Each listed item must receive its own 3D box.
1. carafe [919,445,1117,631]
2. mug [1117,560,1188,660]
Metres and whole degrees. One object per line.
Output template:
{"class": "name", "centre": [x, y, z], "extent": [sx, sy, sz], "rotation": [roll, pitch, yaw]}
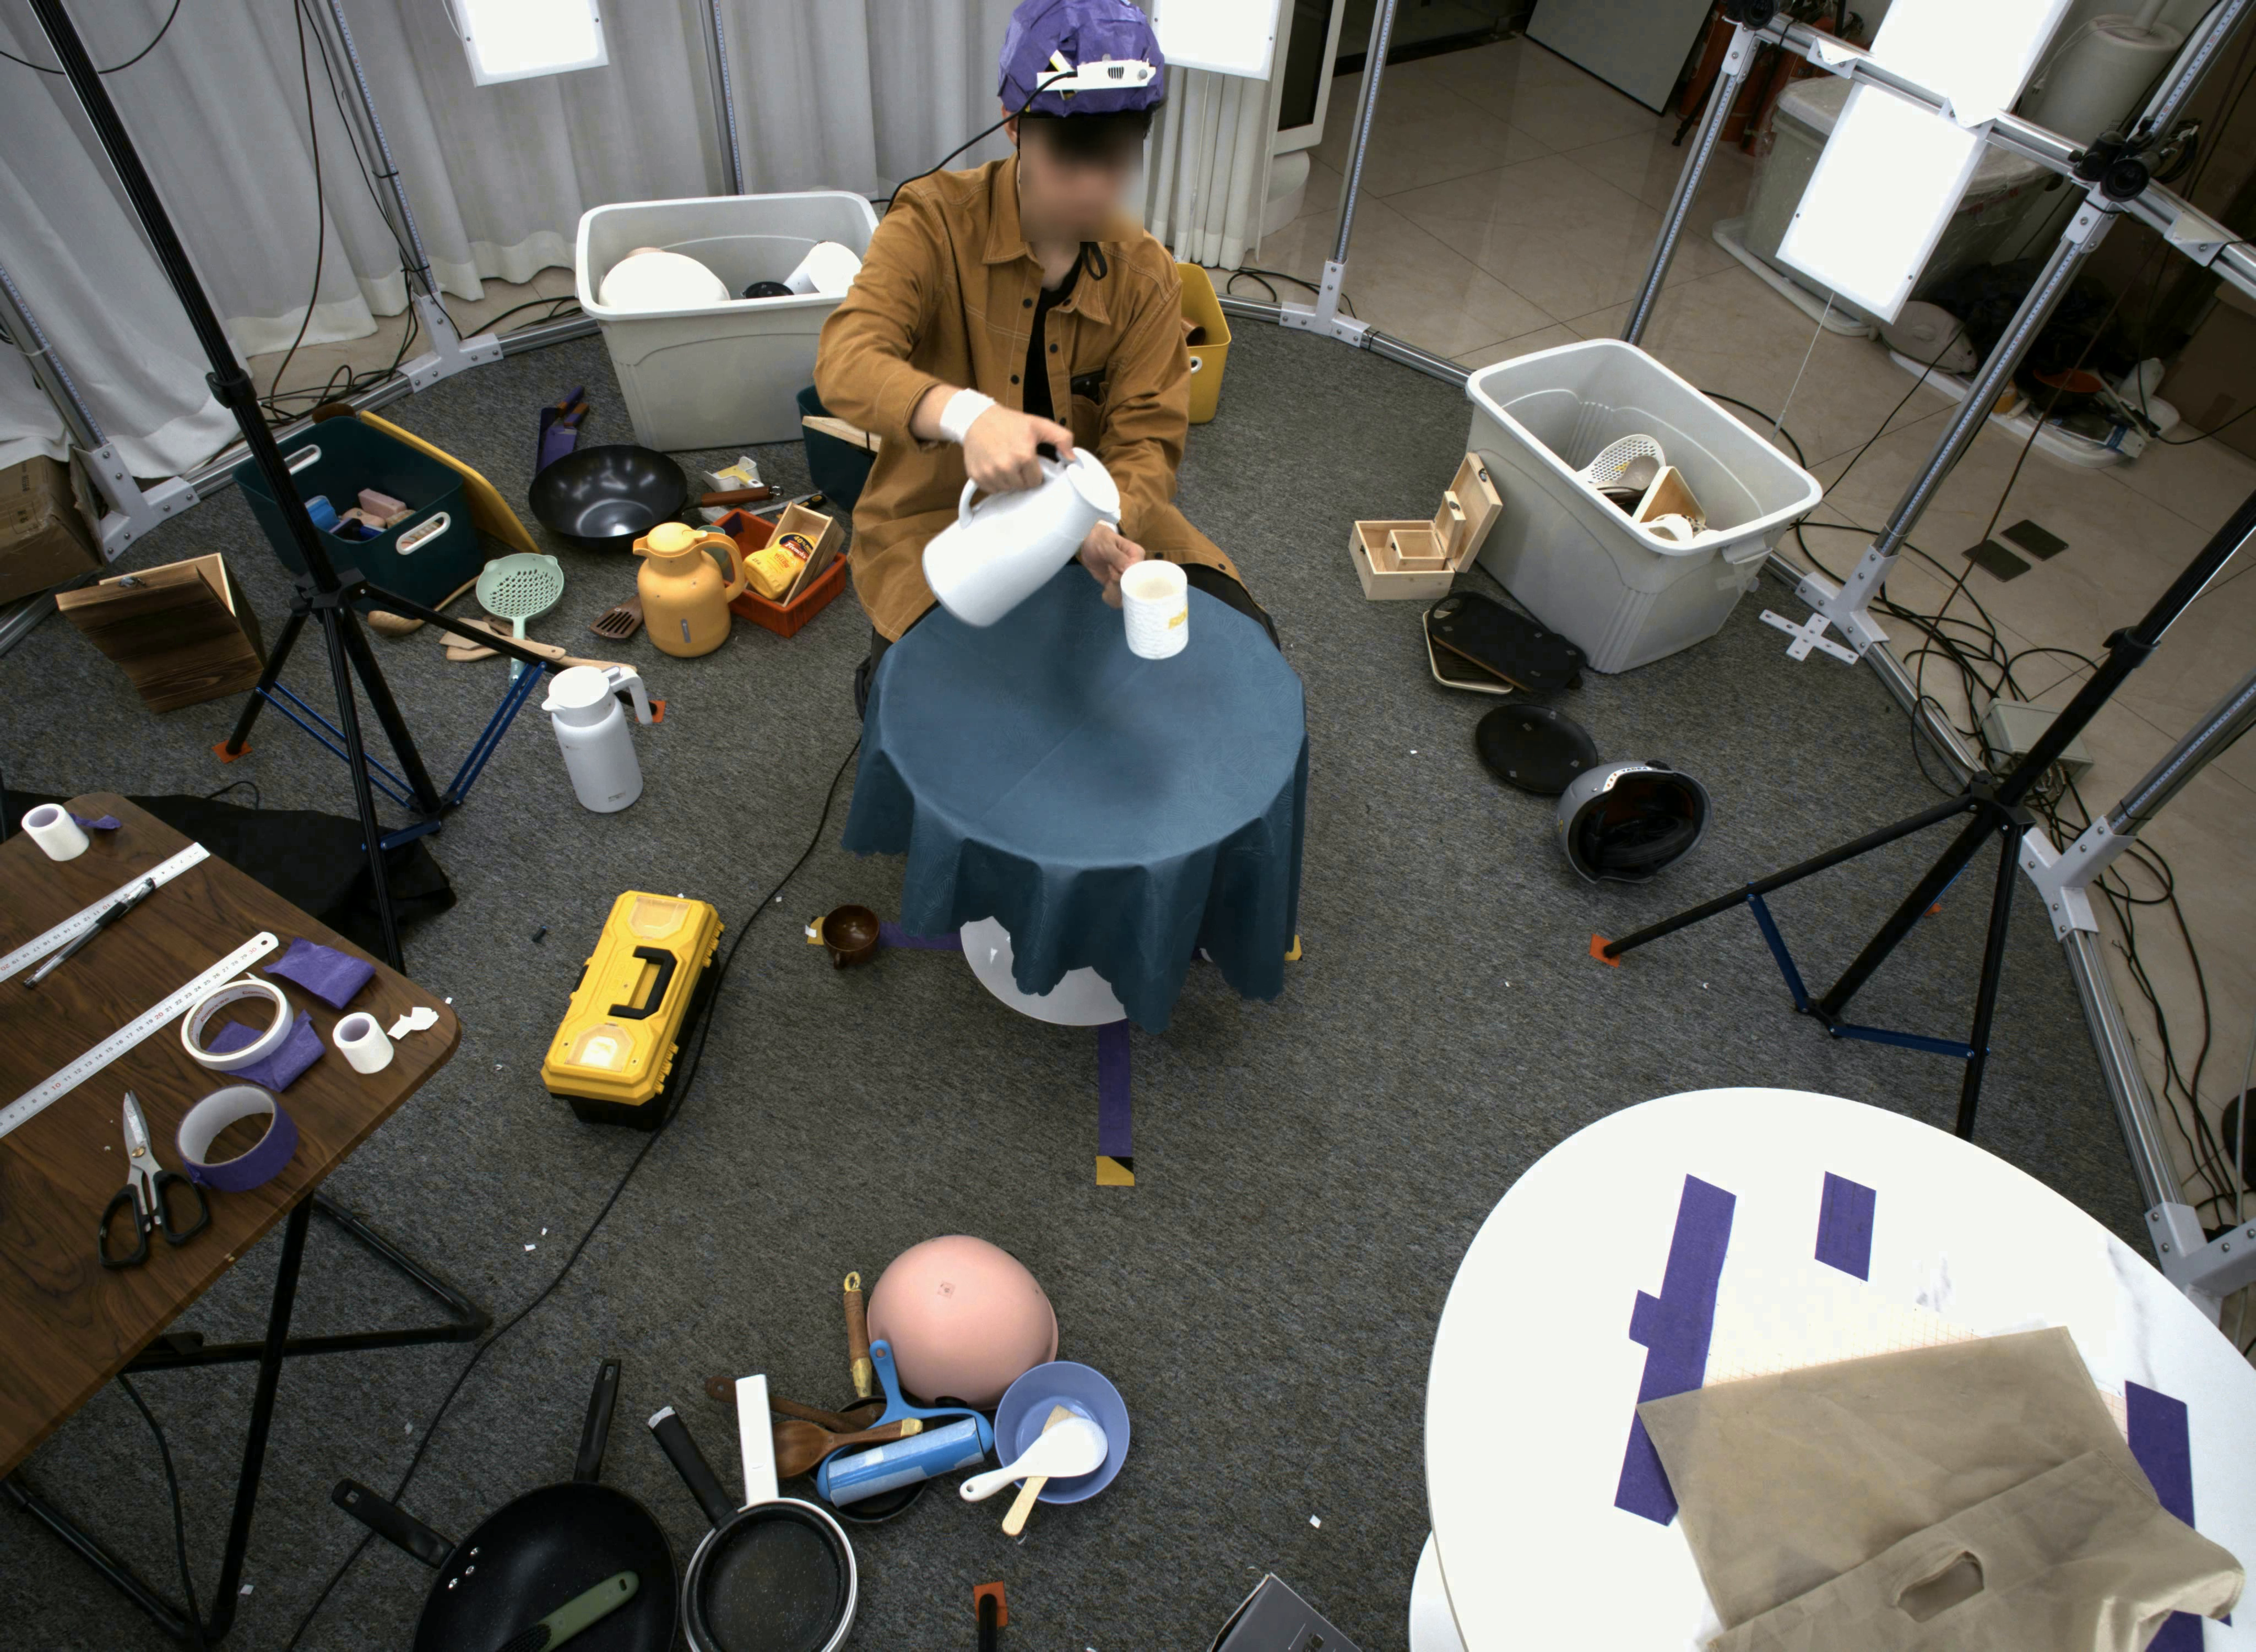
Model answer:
{"class": "carafe", "centre": [-0.143, -0.367, 1.583], "extent": [0.165, 0.246, 0.136], "rotation": [30, 43, -34]}
{"class": "mug", "centre": [0.026, -0.289, 1.681], "extent": [0.085, 0.099, 0.120], "rotation": [-30, 53, -19]}
